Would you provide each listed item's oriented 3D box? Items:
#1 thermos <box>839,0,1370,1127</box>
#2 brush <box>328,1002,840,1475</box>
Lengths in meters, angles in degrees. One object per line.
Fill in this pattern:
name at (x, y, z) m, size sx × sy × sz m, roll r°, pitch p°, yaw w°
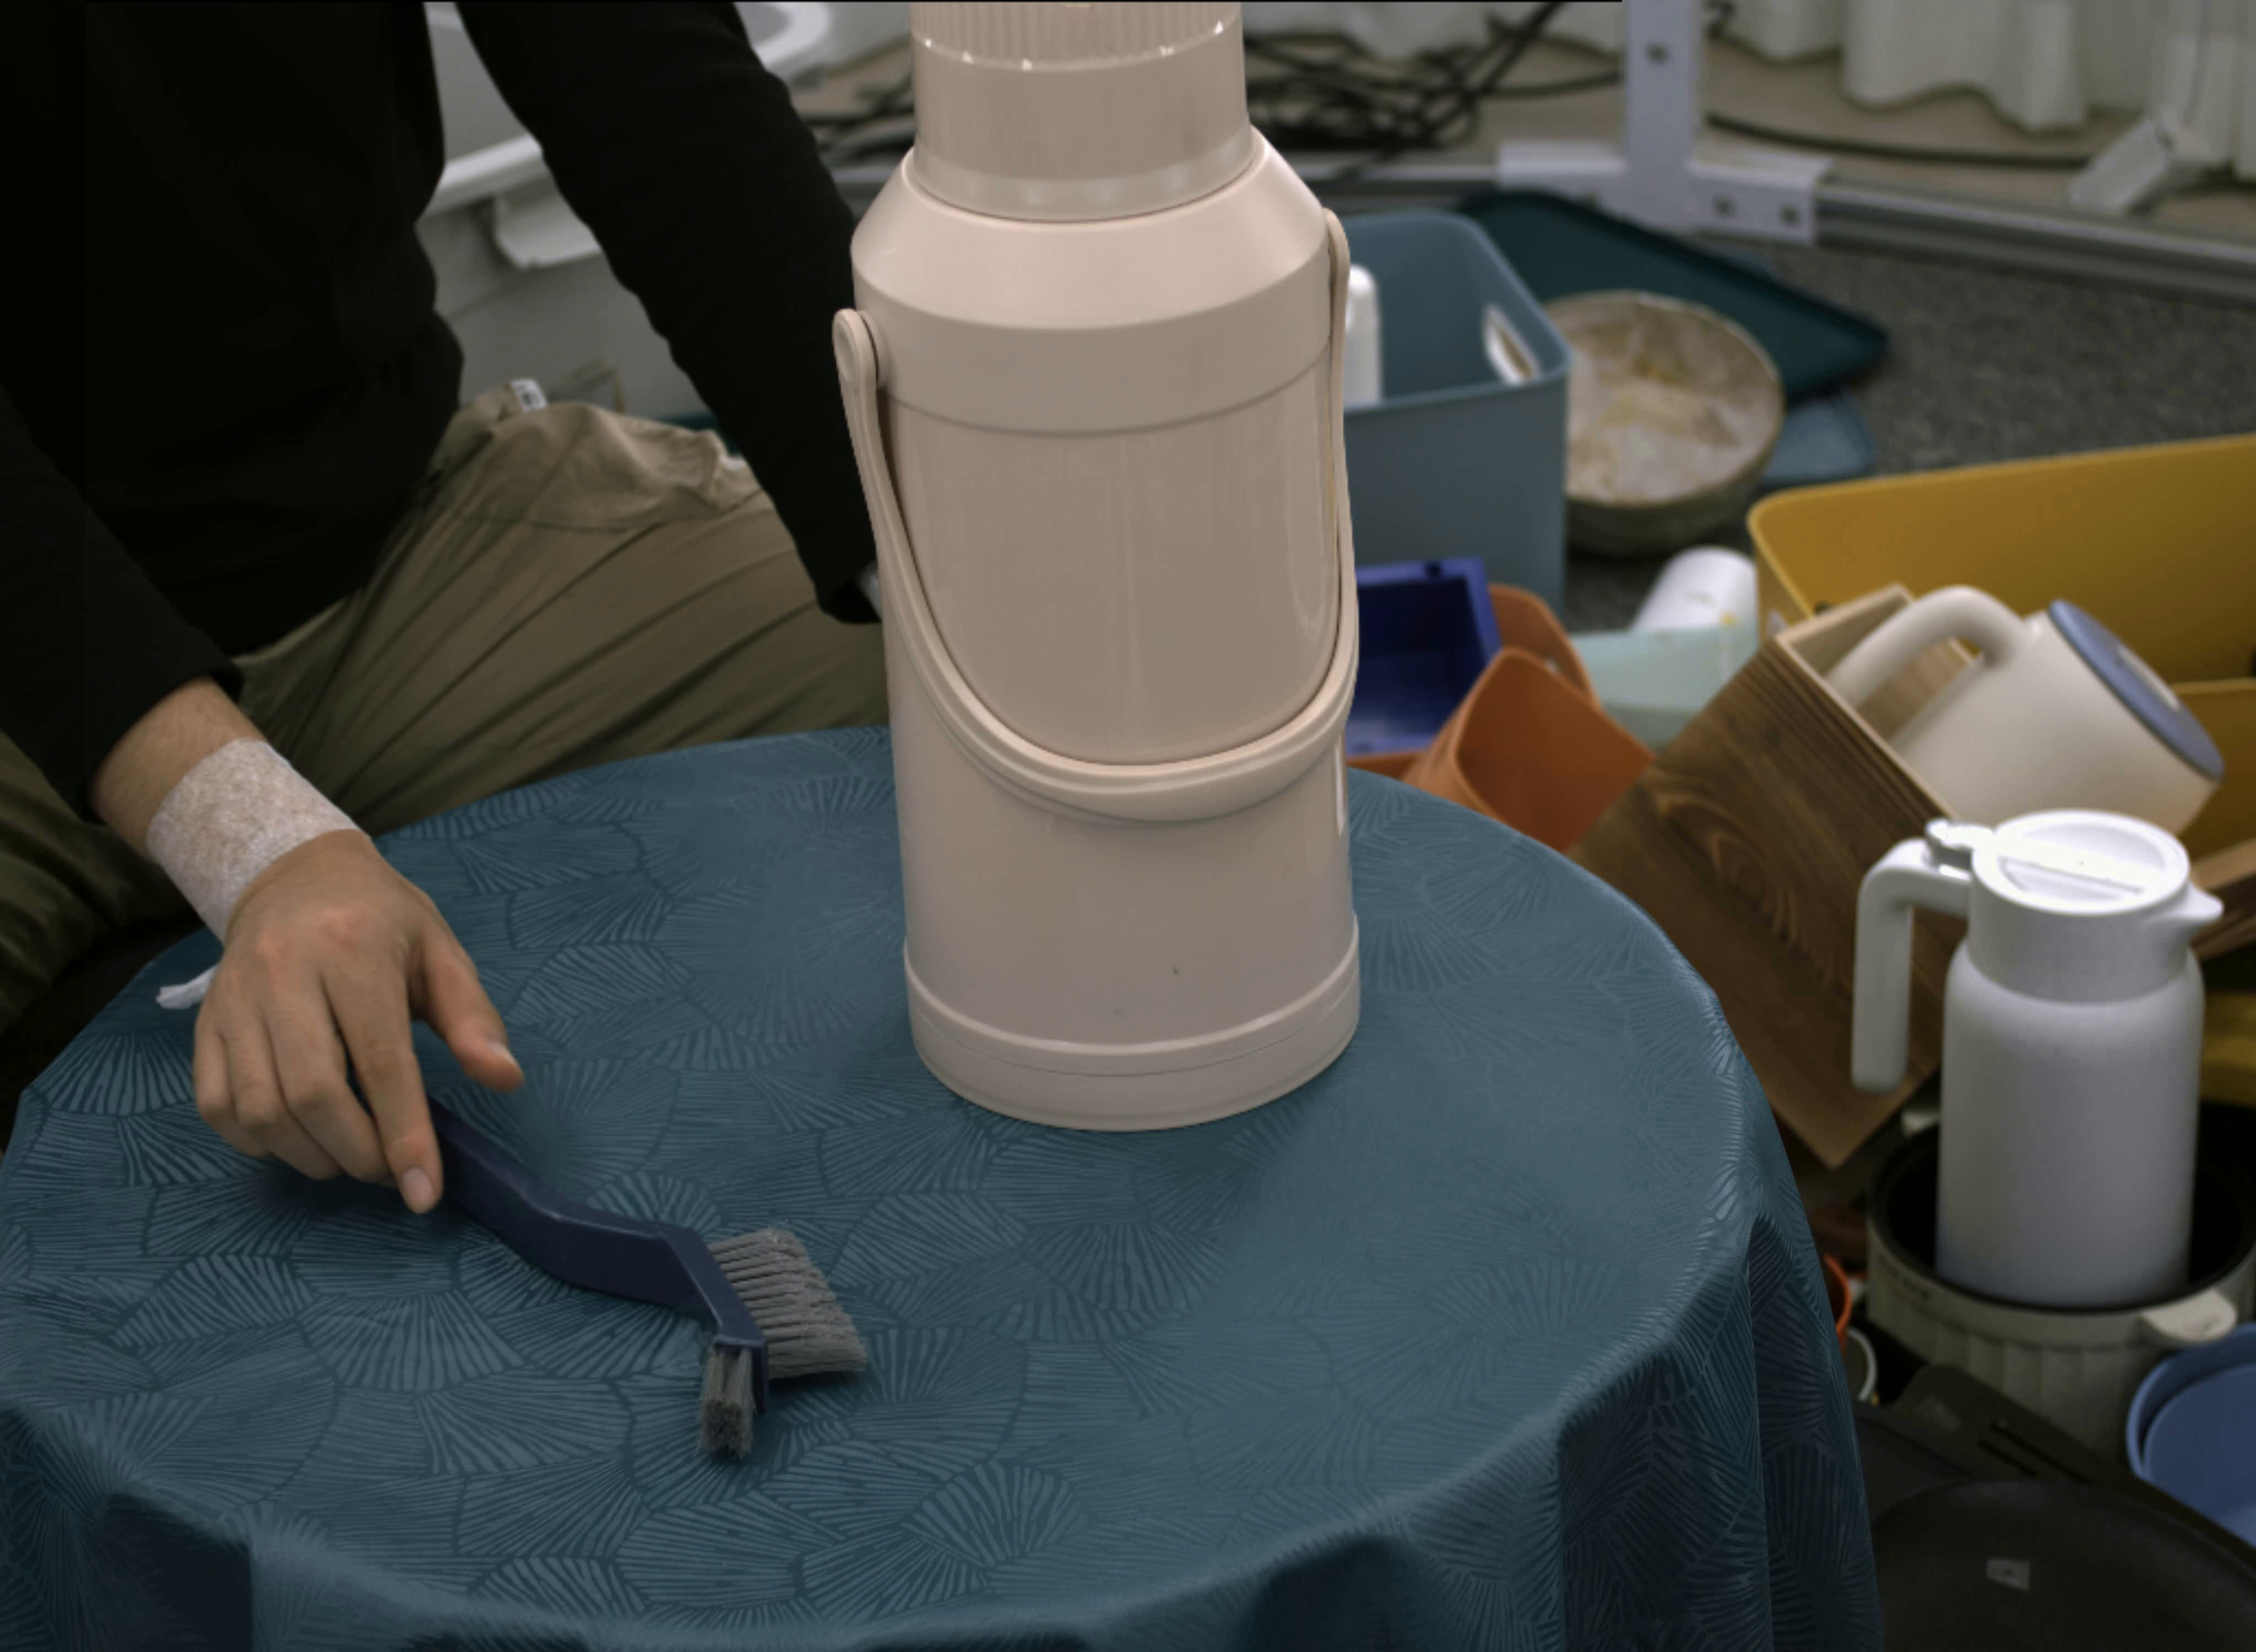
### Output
thermos at (-0.010, -0.115, 1.894) m, size 0.176 × 0.402 × 0.208 m, roll -15°, pitch 29°, yaw -20°
brush at (-0.197, 0.130, 1.829) m, size 0.273 × 0.033 × 0.097 m, roll 24°, pitch 37°, yaw 38°
